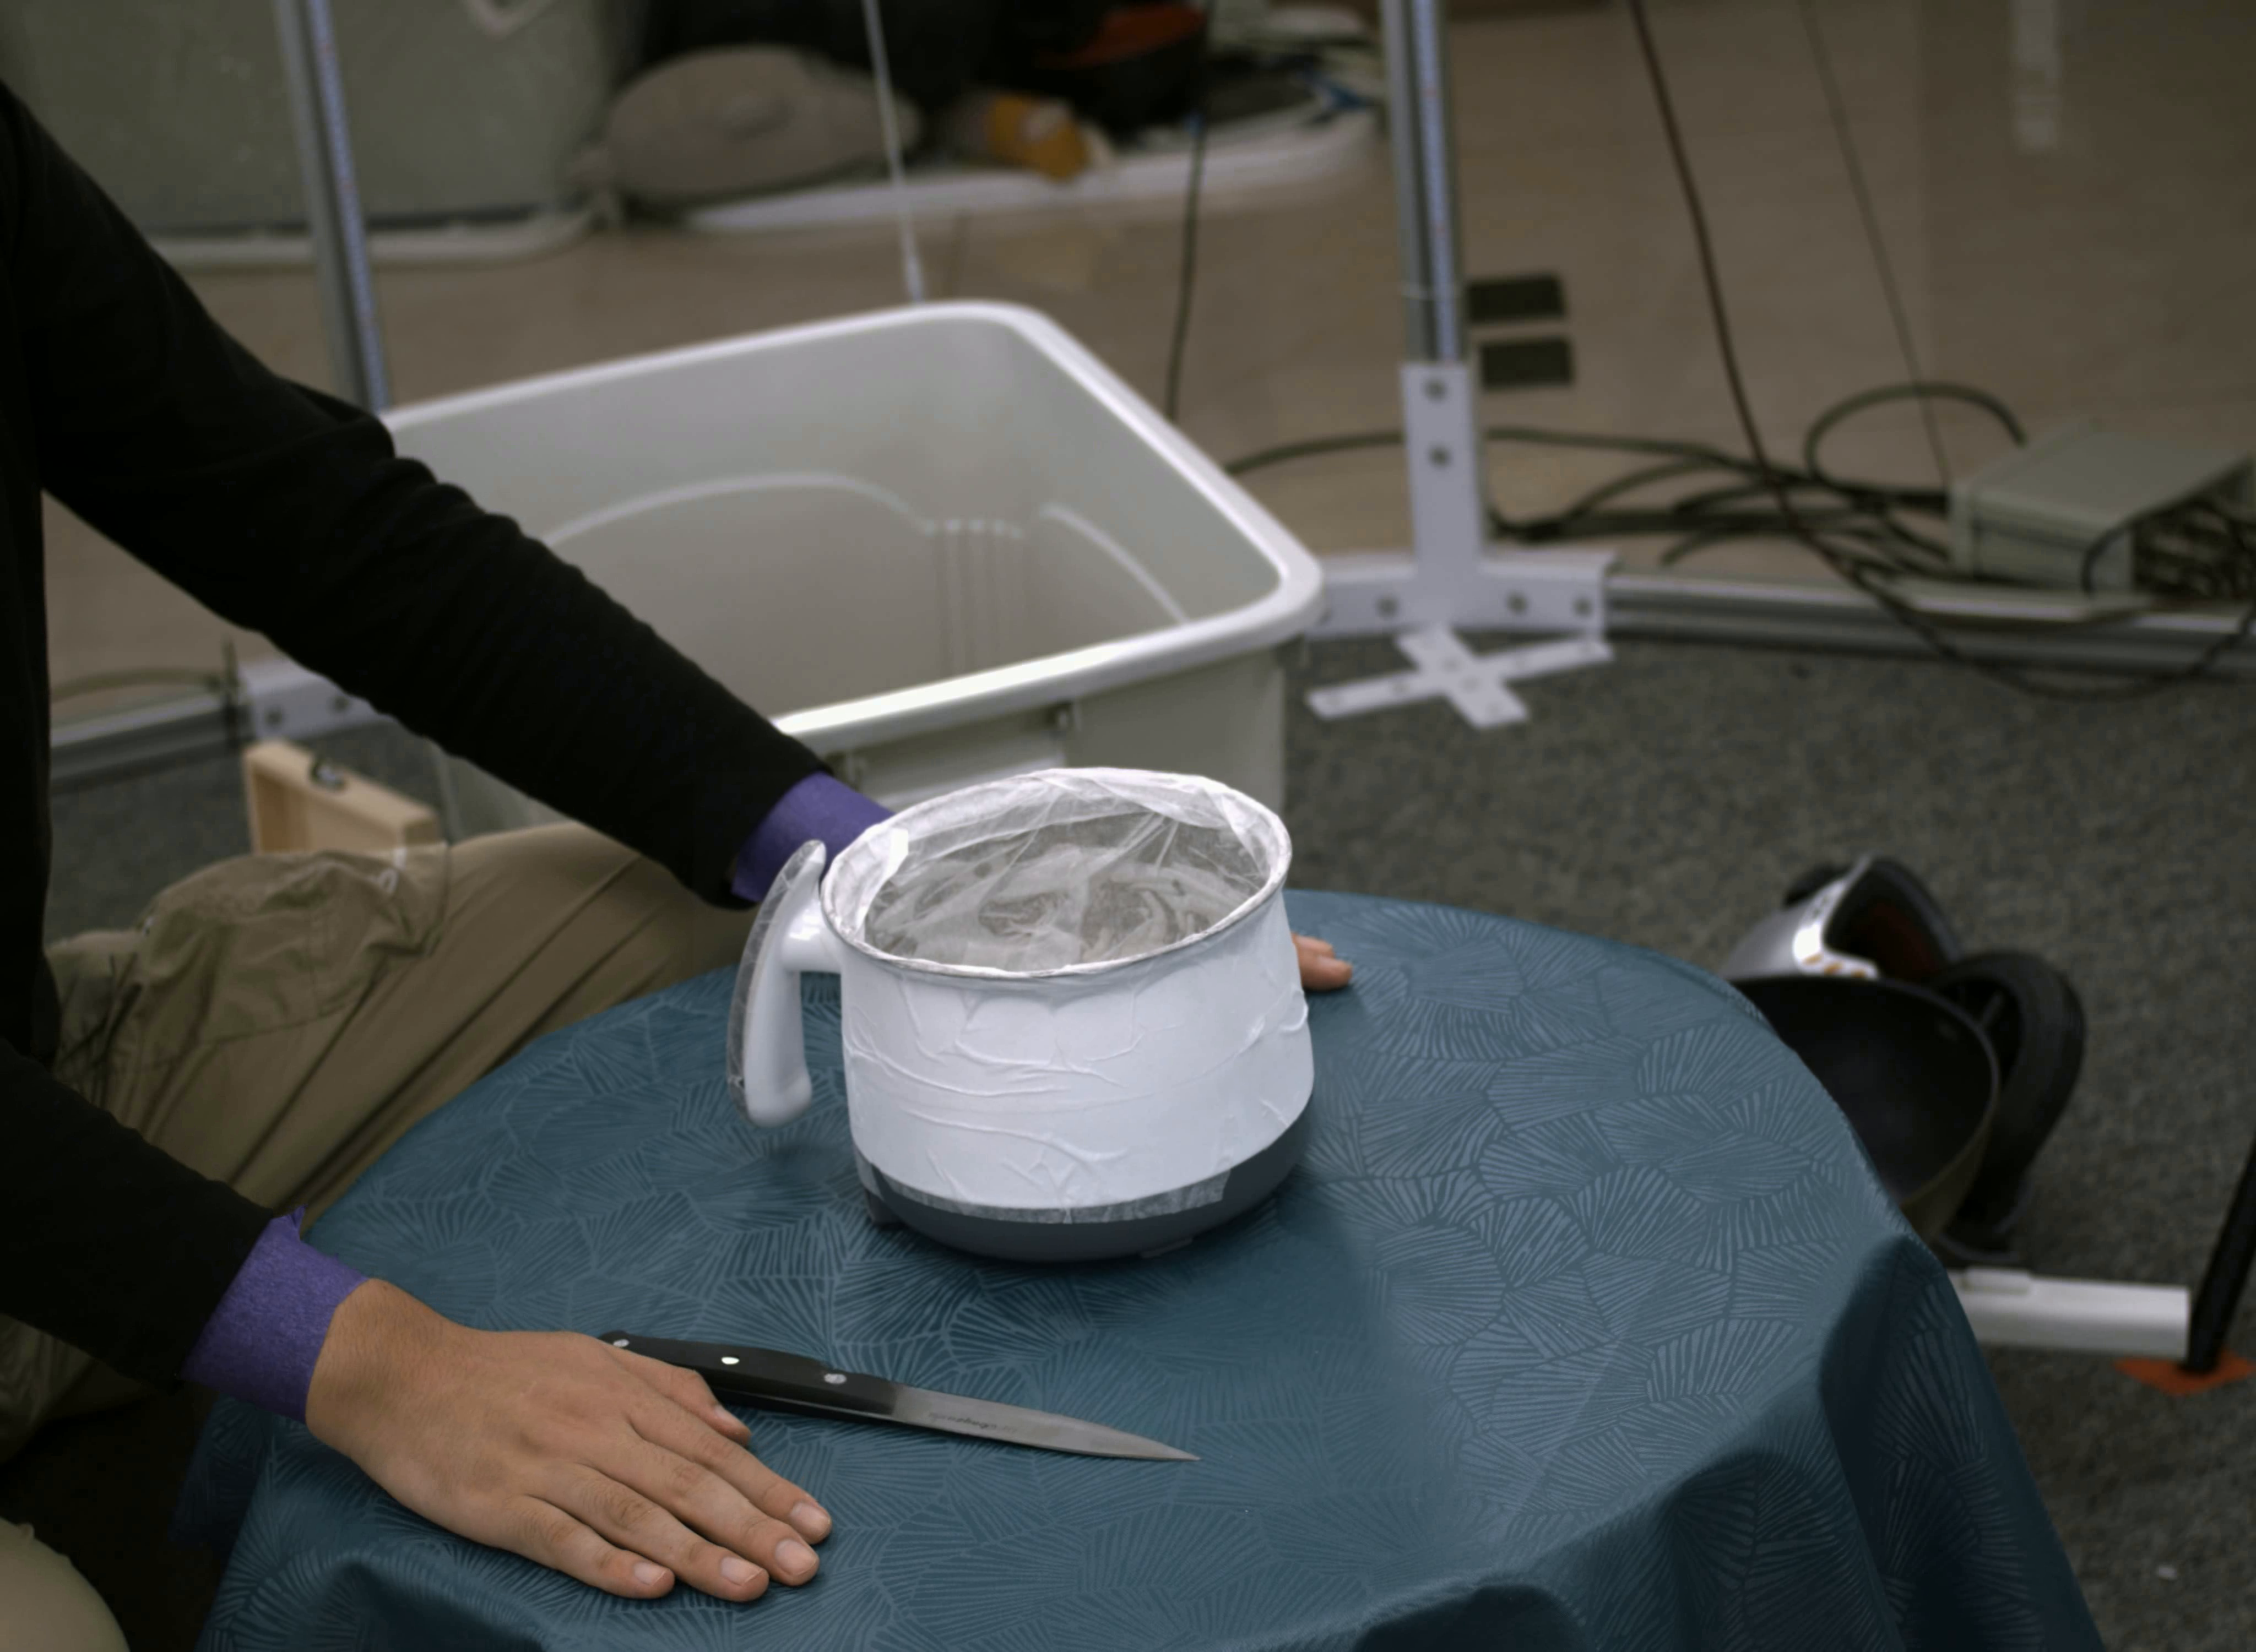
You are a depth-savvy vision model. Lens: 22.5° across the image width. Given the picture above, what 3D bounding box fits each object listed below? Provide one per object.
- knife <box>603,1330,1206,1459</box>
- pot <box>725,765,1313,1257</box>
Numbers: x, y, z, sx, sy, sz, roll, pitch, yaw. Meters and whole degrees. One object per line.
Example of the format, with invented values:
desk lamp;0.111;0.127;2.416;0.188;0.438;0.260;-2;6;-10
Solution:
knife;-0.083;0.205;2.015;0.237;0.016;0.024;8;25;22
pot;-0.046;0.069;2.140;0.233;0.139;0.176;4;27;19
